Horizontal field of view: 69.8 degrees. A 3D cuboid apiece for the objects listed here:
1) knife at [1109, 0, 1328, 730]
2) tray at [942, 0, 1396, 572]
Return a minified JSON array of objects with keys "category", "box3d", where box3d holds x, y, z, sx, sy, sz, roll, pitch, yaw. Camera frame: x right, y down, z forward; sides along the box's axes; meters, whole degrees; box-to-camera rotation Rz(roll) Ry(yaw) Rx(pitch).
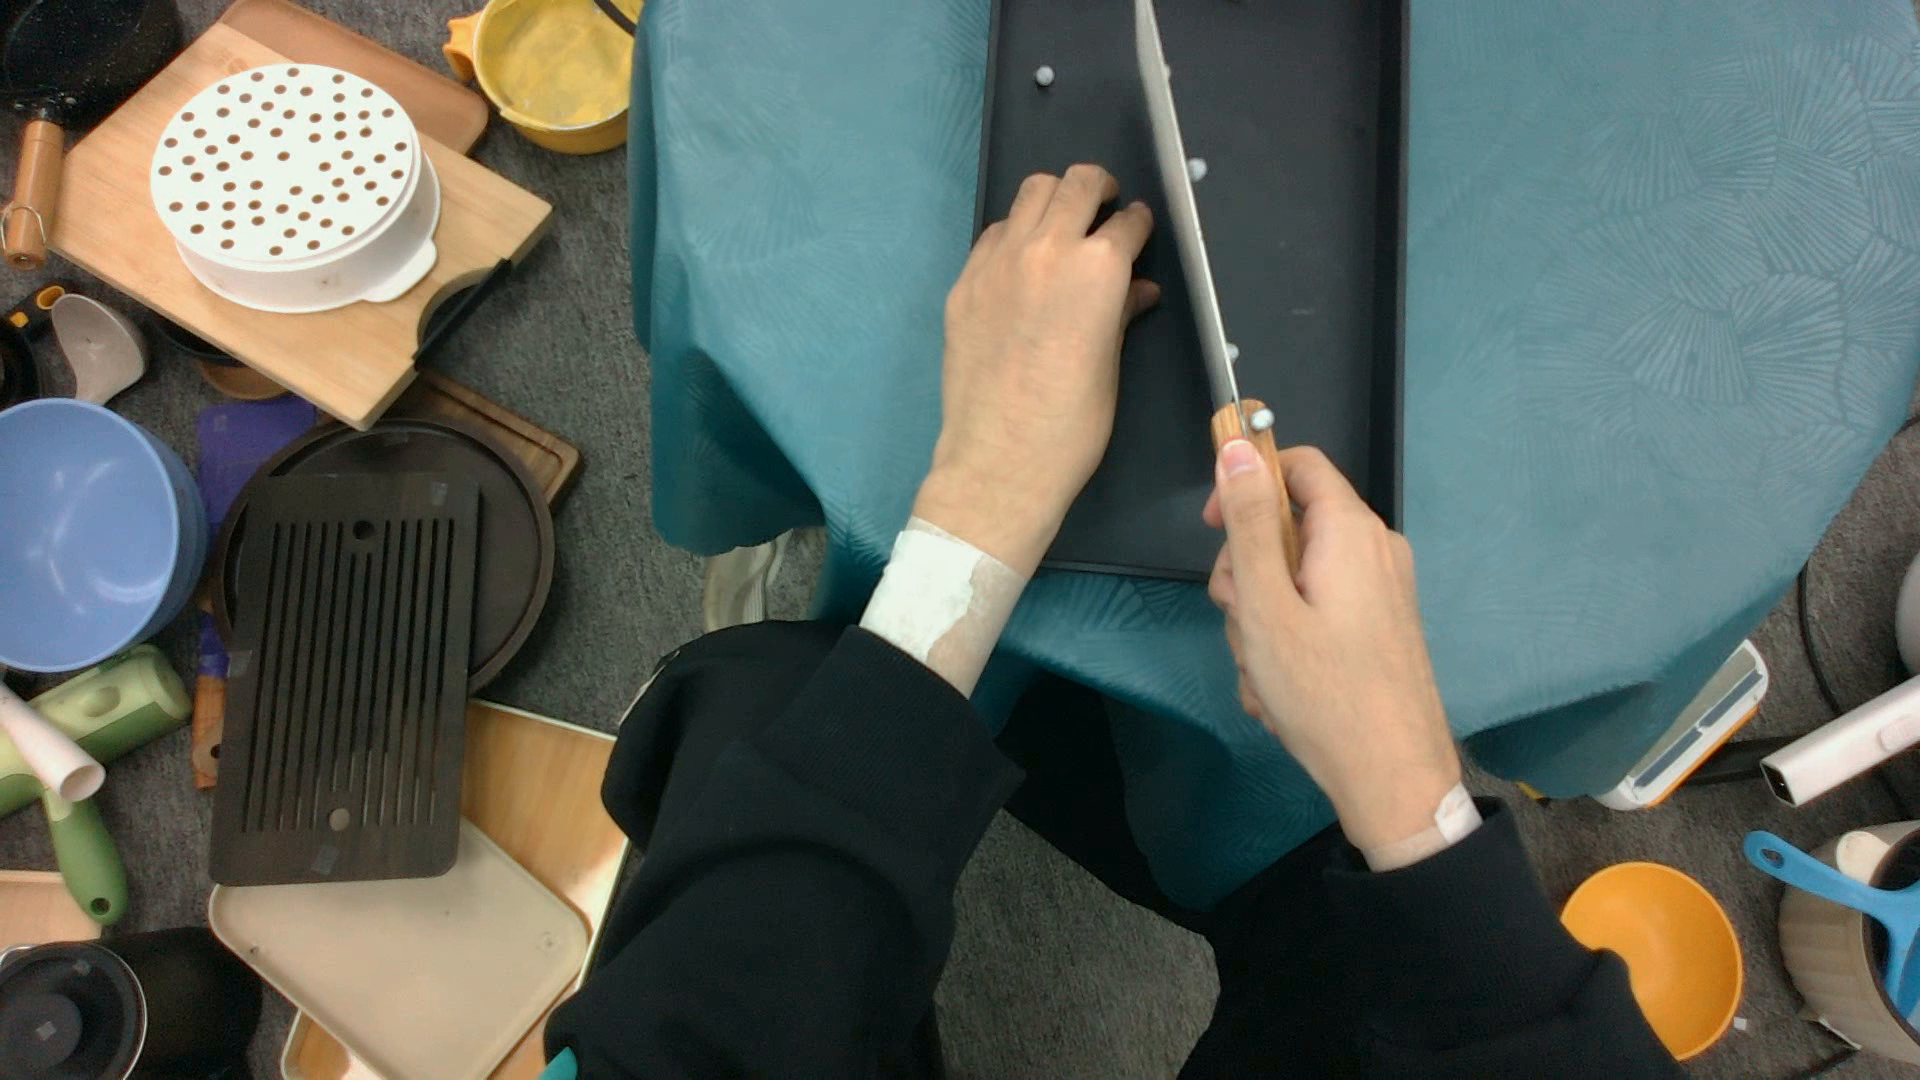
[{"category":"knife","box3d":[0.094,-0.076,0.543,0.021,0.093,0.306,-13,79,6]},{"category":"tray","box3d":[0.089,-0.146,0.594,0.184,0.037,0.318,3,77,-4]}]
